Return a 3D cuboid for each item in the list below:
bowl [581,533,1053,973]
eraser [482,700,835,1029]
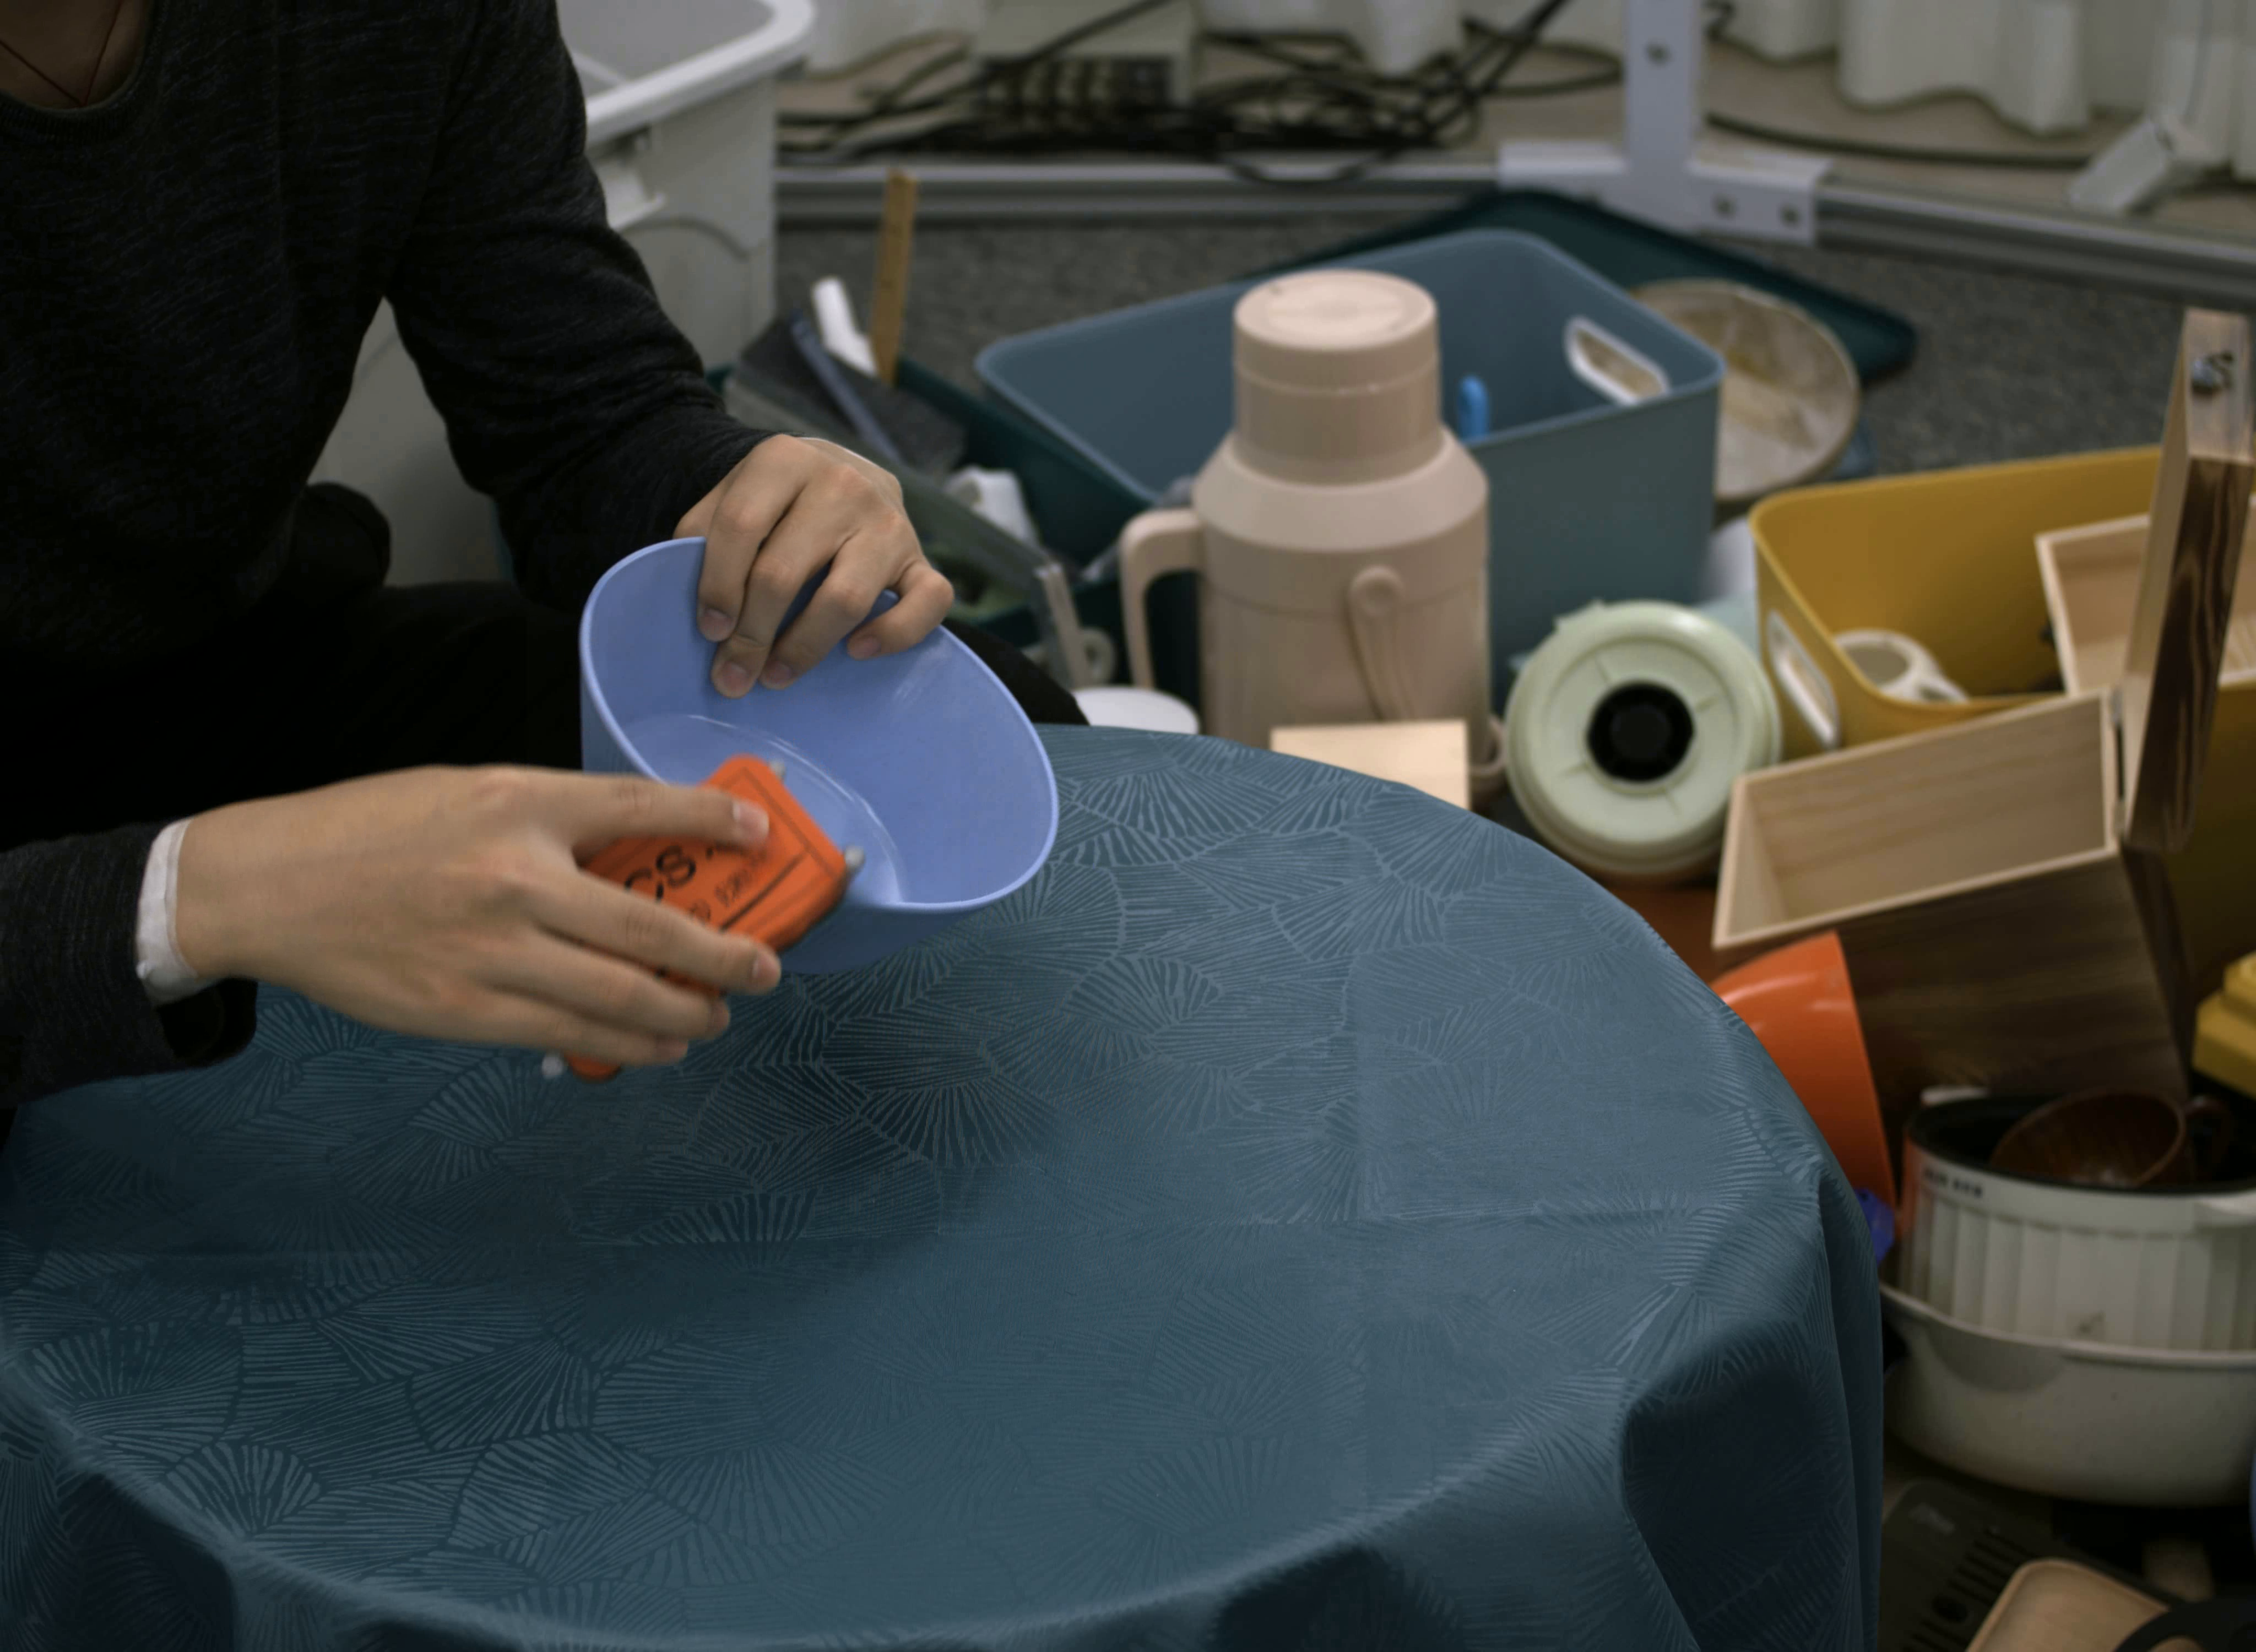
[{"bbox_3d":[-0.116,-0.014,1.896,0.175,0.069,0.179,22,35,-16],"label":"bowl"},{"bbox_3d":[-0.148,0.013,1.785,0.109,0.022,0.059,-39,73,-17],"label":"eraser"}]
